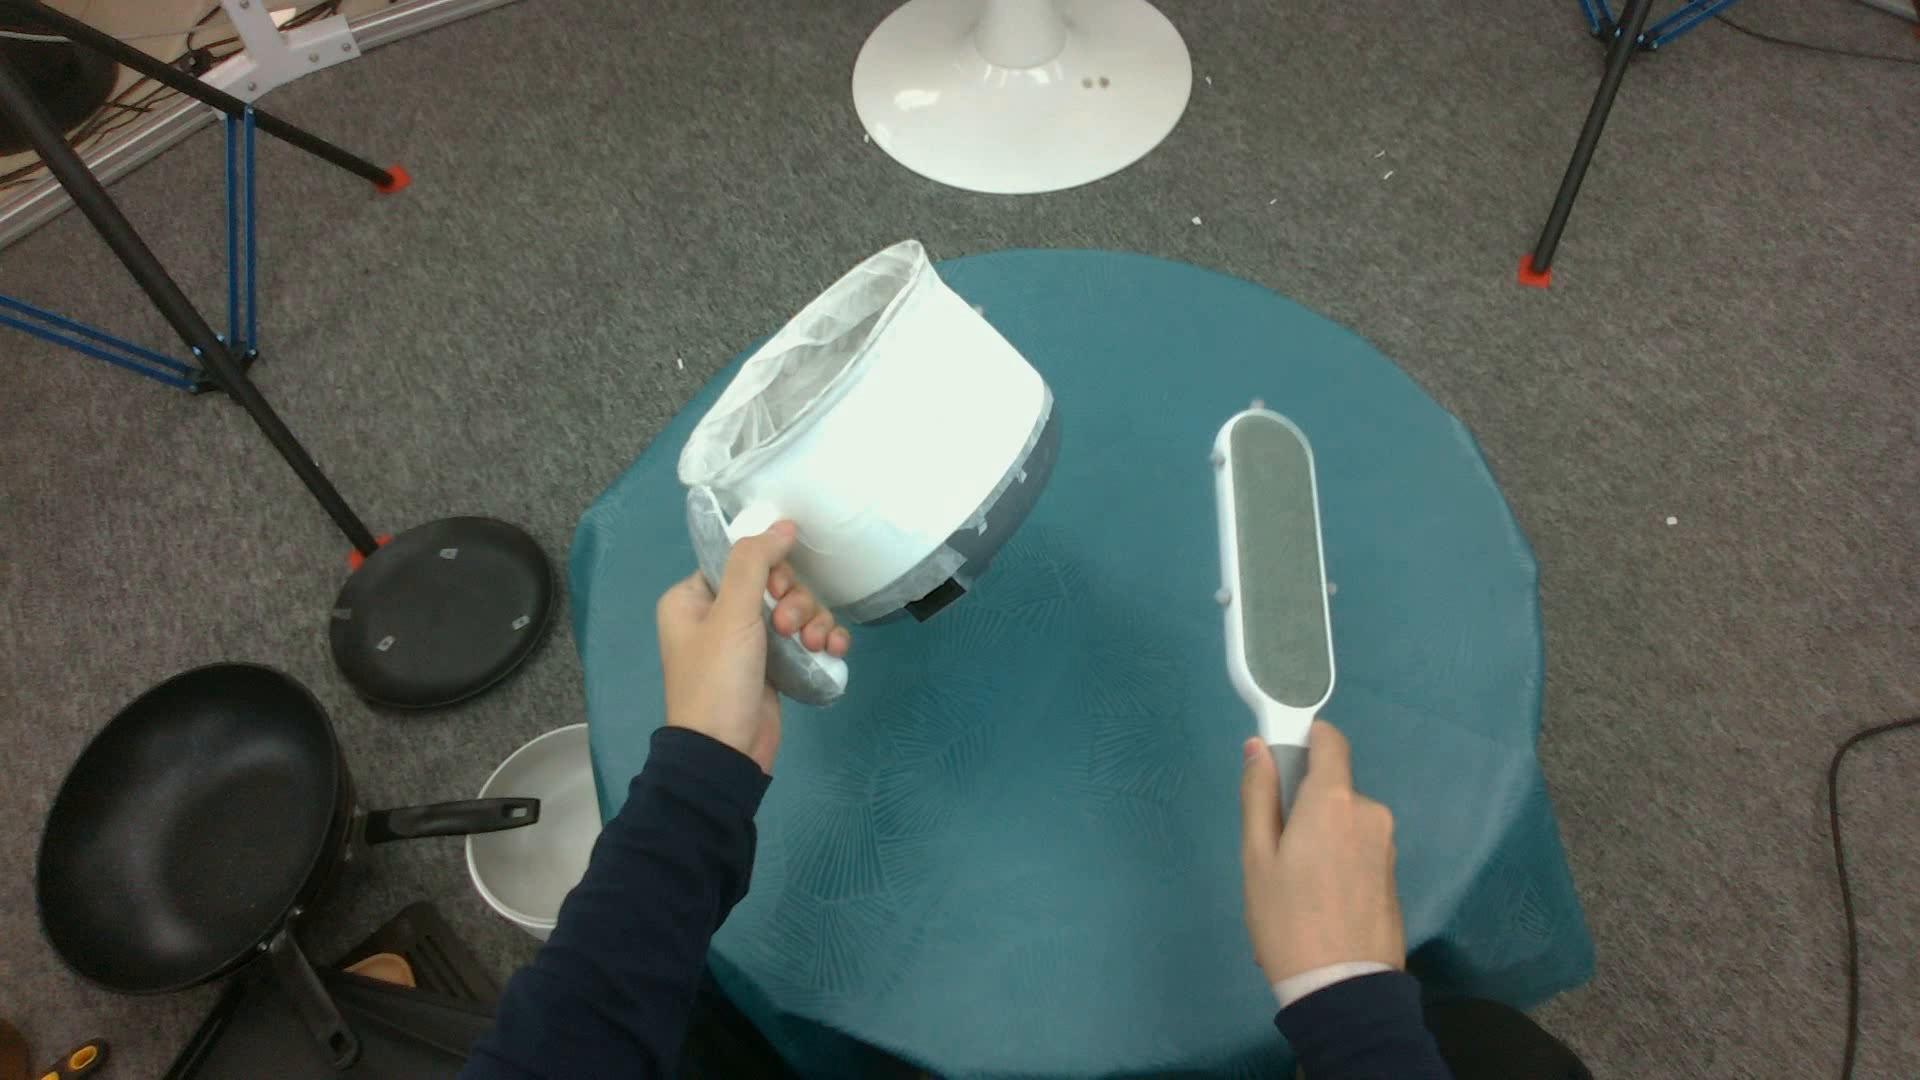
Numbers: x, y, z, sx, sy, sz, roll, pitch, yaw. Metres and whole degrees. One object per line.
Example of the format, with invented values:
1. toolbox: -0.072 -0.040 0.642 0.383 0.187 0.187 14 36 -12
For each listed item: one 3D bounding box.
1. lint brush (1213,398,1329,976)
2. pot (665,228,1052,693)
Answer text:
1. lint brush: 0.159 0.060 0.696 0.060 0.021 0.310 14 60 -21
2. pot: -0.061 -0.039 0.727 0.136 0.178 0.235 45 53 -21
